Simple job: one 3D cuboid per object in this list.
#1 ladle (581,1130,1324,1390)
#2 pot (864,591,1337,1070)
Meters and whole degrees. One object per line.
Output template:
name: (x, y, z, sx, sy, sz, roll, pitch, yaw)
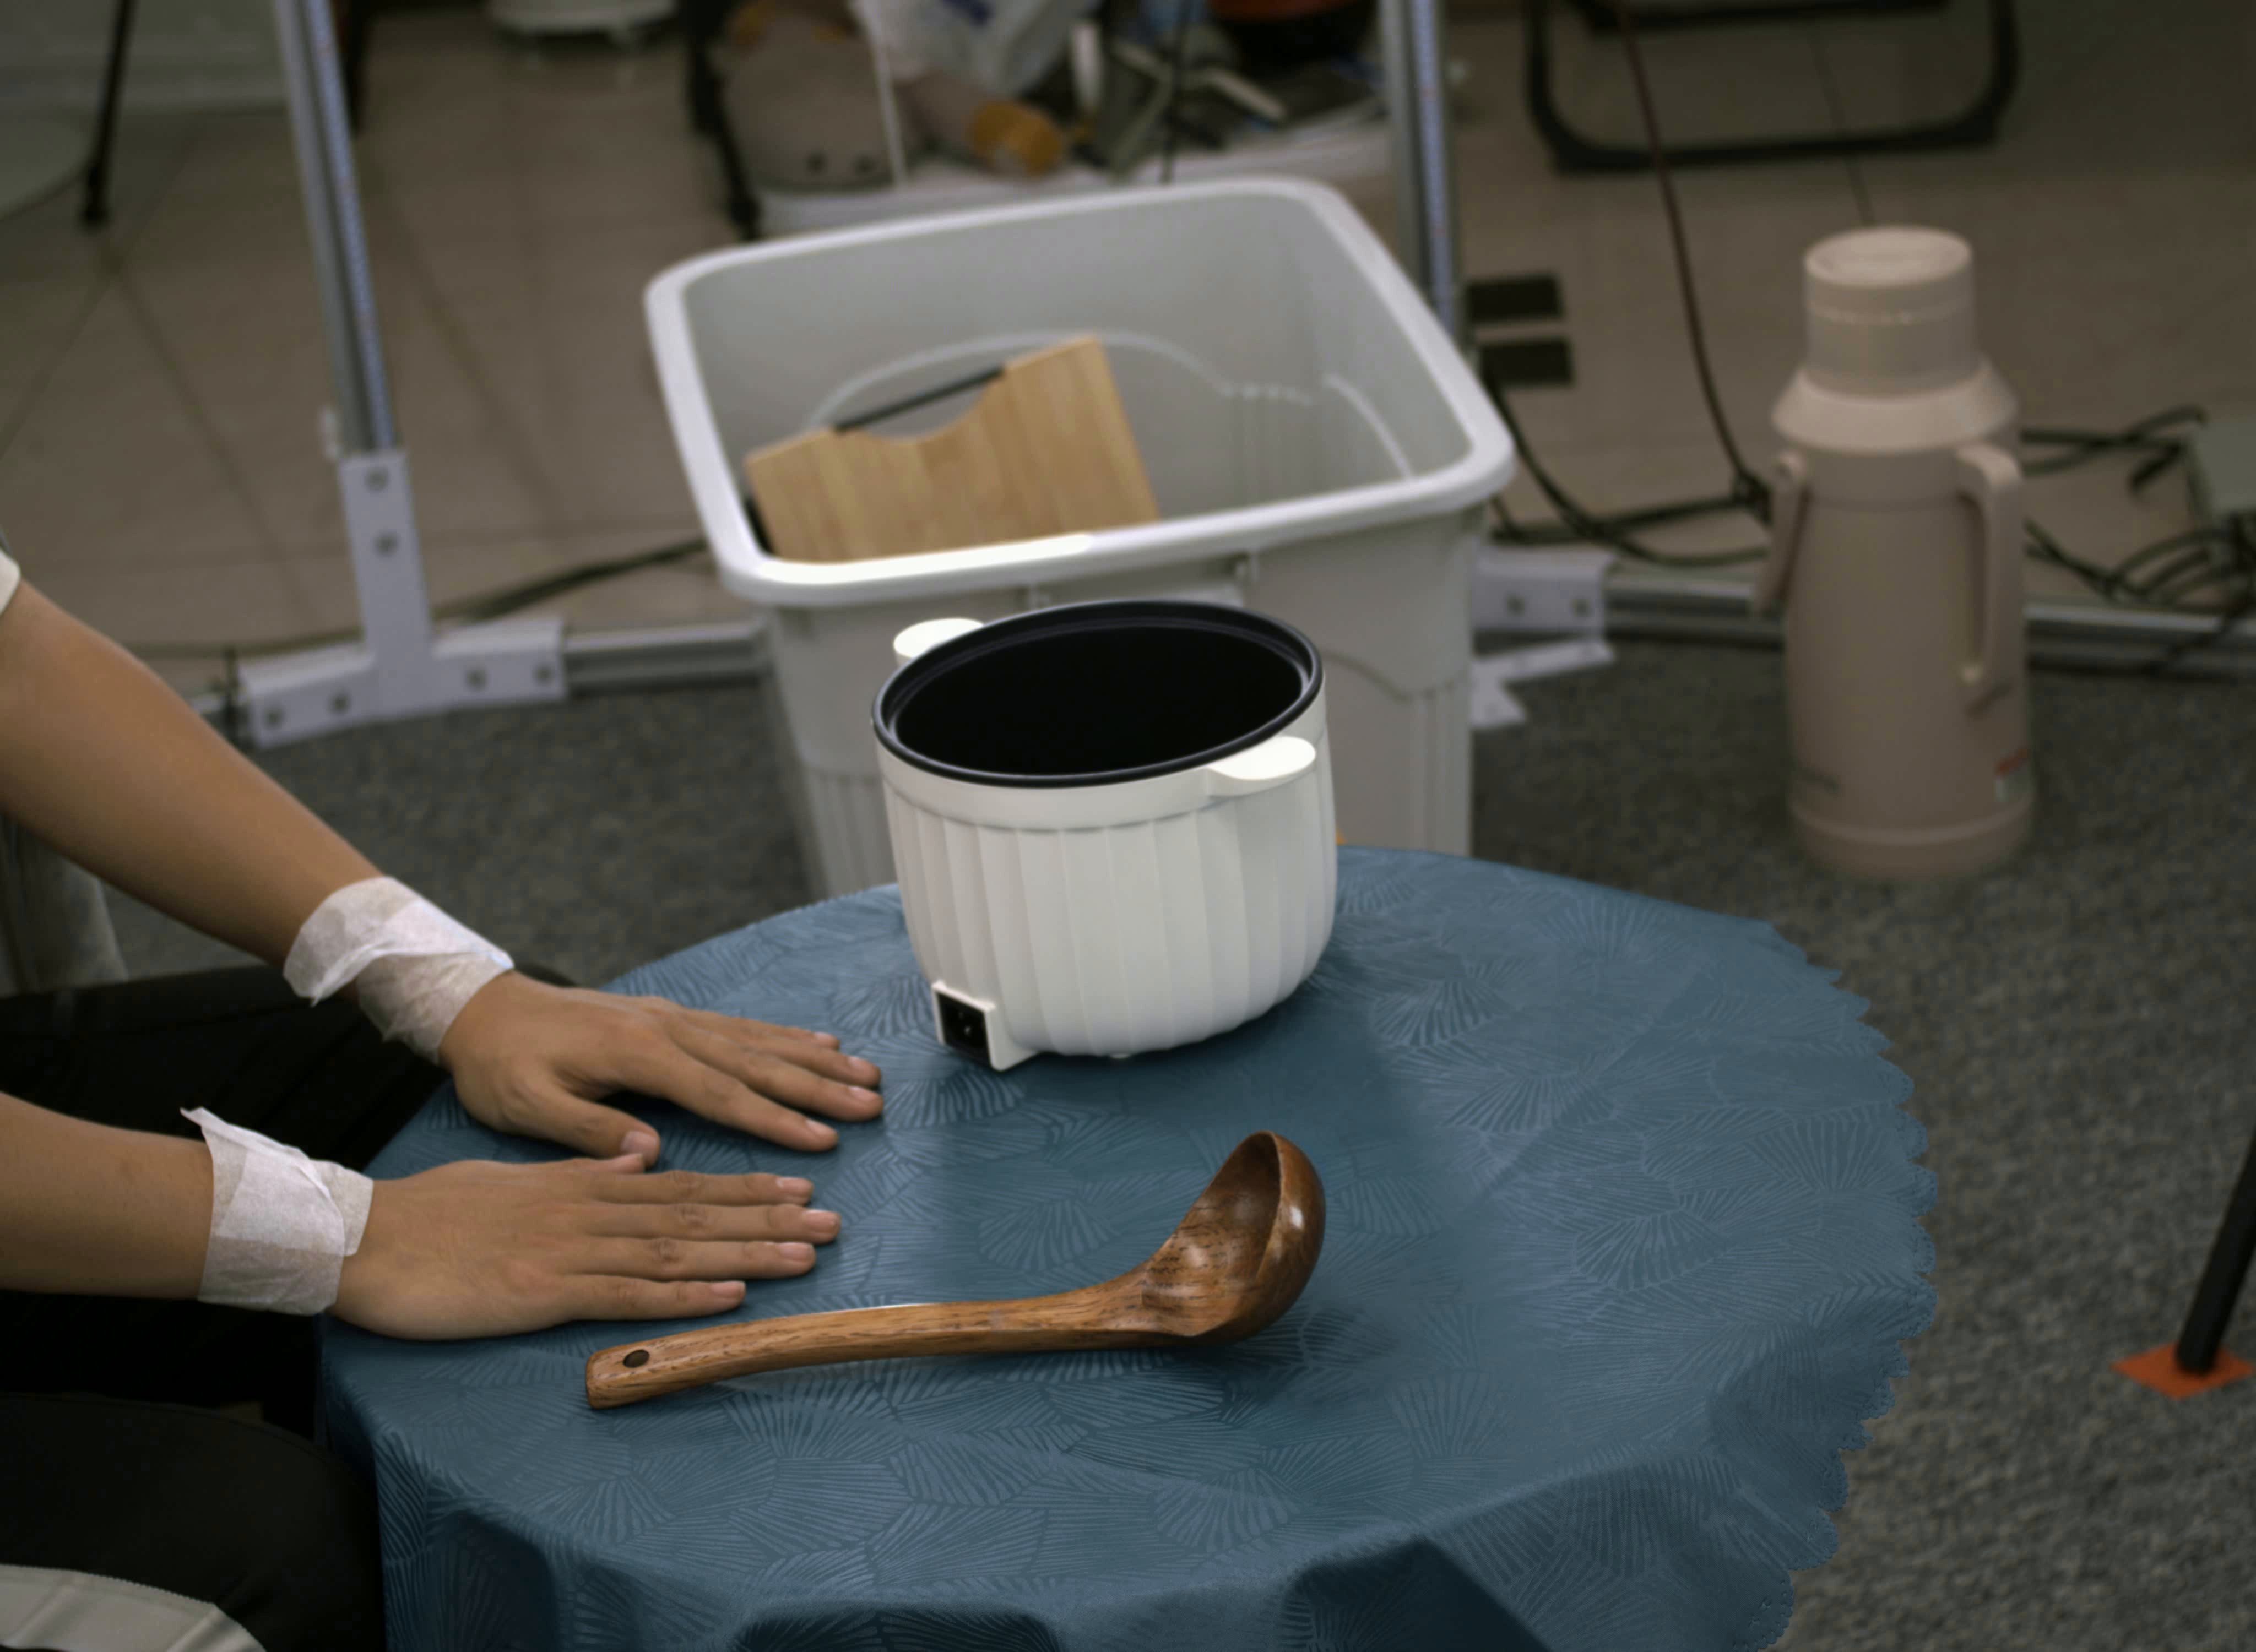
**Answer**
ladle: (-0.065, 0.159, 2.031, 0.273, 0.078, 0.080, -5, 34, 3)
pot: (-0.003, 0.001, 2.281, 0.189, 0.145, 0.238, -29, 34, -32)
